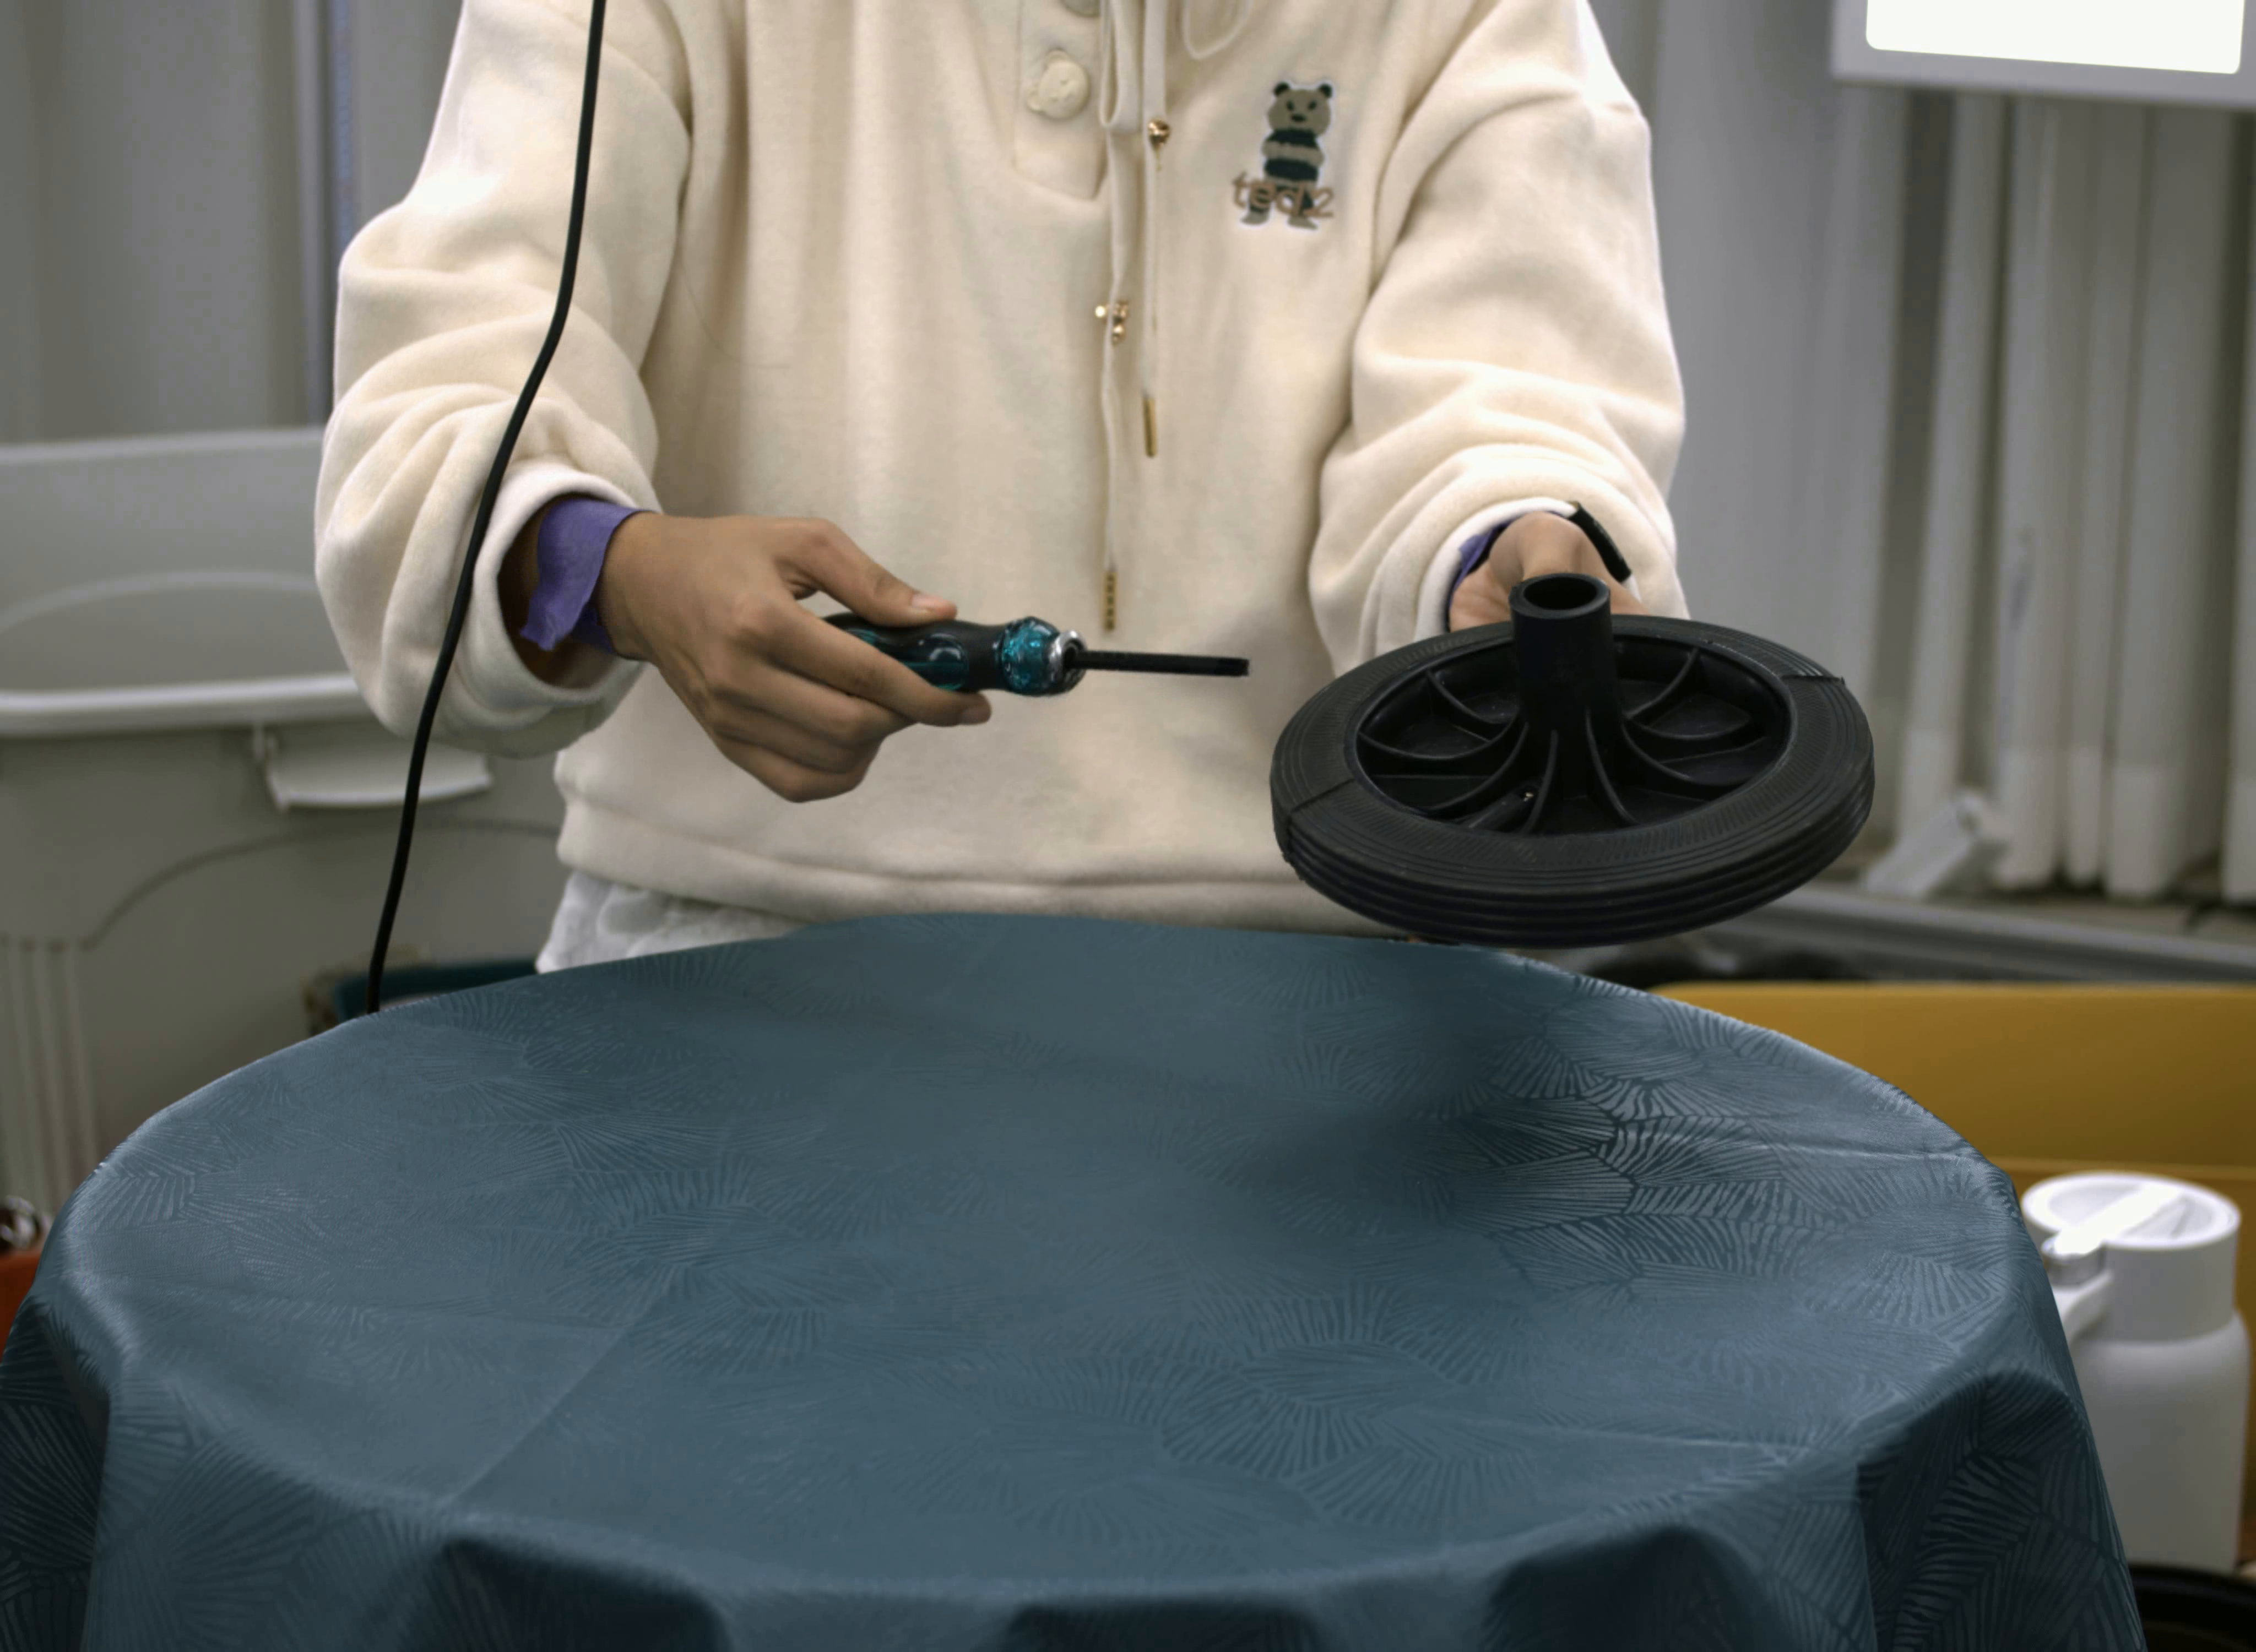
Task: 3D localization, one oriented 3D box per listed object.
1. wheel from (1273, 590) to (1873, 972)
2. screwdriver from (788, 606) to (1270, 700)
[{"bbox_3d":[0.135,-0.031,1.628,0.186,0.080,0.189,4,32,17],"label":"wheel"},{"bbox_3d":[-0.032,-0.053,1.712,0.188,0.034,0.034,4,15,35],"label":"screwdriver"}]
